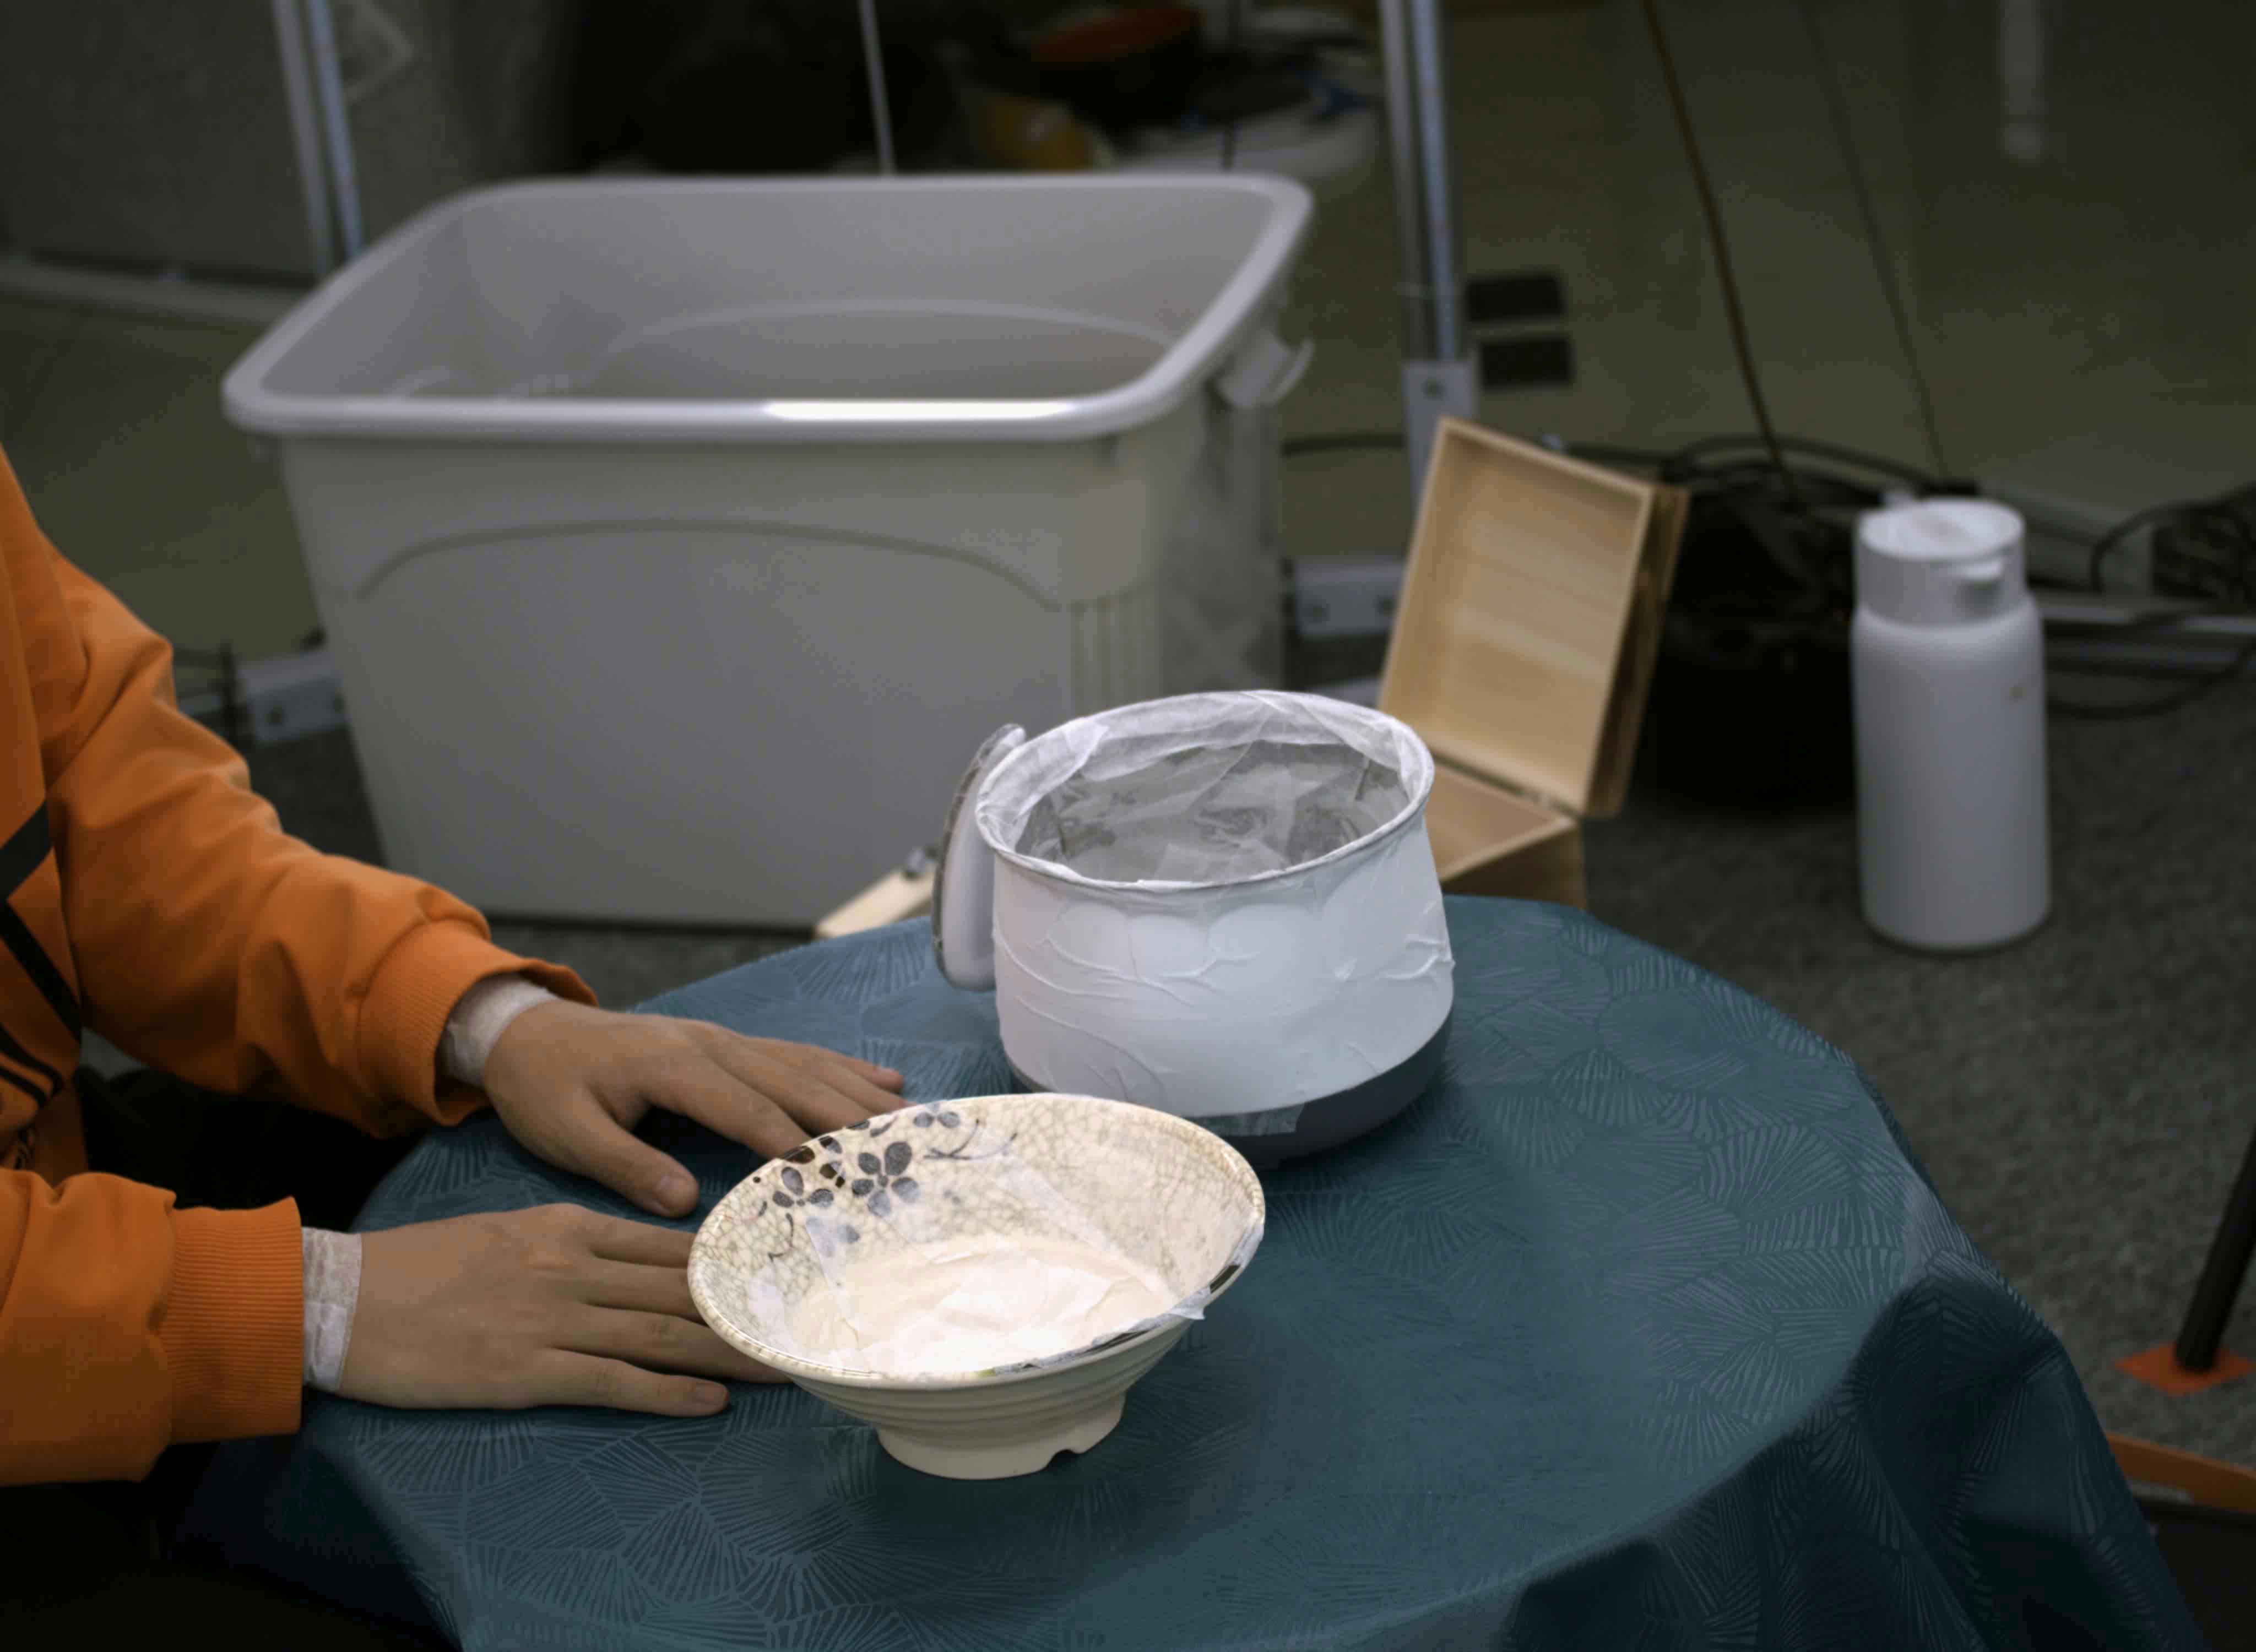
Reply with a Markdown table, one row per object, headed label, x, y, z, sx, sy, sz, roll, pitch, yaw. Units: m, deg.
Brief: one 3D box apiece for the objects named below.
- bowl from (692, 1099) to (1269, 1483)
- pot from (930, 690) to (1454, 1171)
| label | x | y | z | sx | sy | sz | roll | pitch | yaw |
| --- | --- | --- | --- | --- | --- | --- | --- | --- | --- |
| bowl | -0.047 | 0.175 | 1.991 | 0.204 | 0.079 | 0.201 | -7 | 25 | 3 |
| pot | 0.014 | 0.036 | 2.198 | 0.232 | 0.139 | 0.177 | 14 | 32 | 37 |
